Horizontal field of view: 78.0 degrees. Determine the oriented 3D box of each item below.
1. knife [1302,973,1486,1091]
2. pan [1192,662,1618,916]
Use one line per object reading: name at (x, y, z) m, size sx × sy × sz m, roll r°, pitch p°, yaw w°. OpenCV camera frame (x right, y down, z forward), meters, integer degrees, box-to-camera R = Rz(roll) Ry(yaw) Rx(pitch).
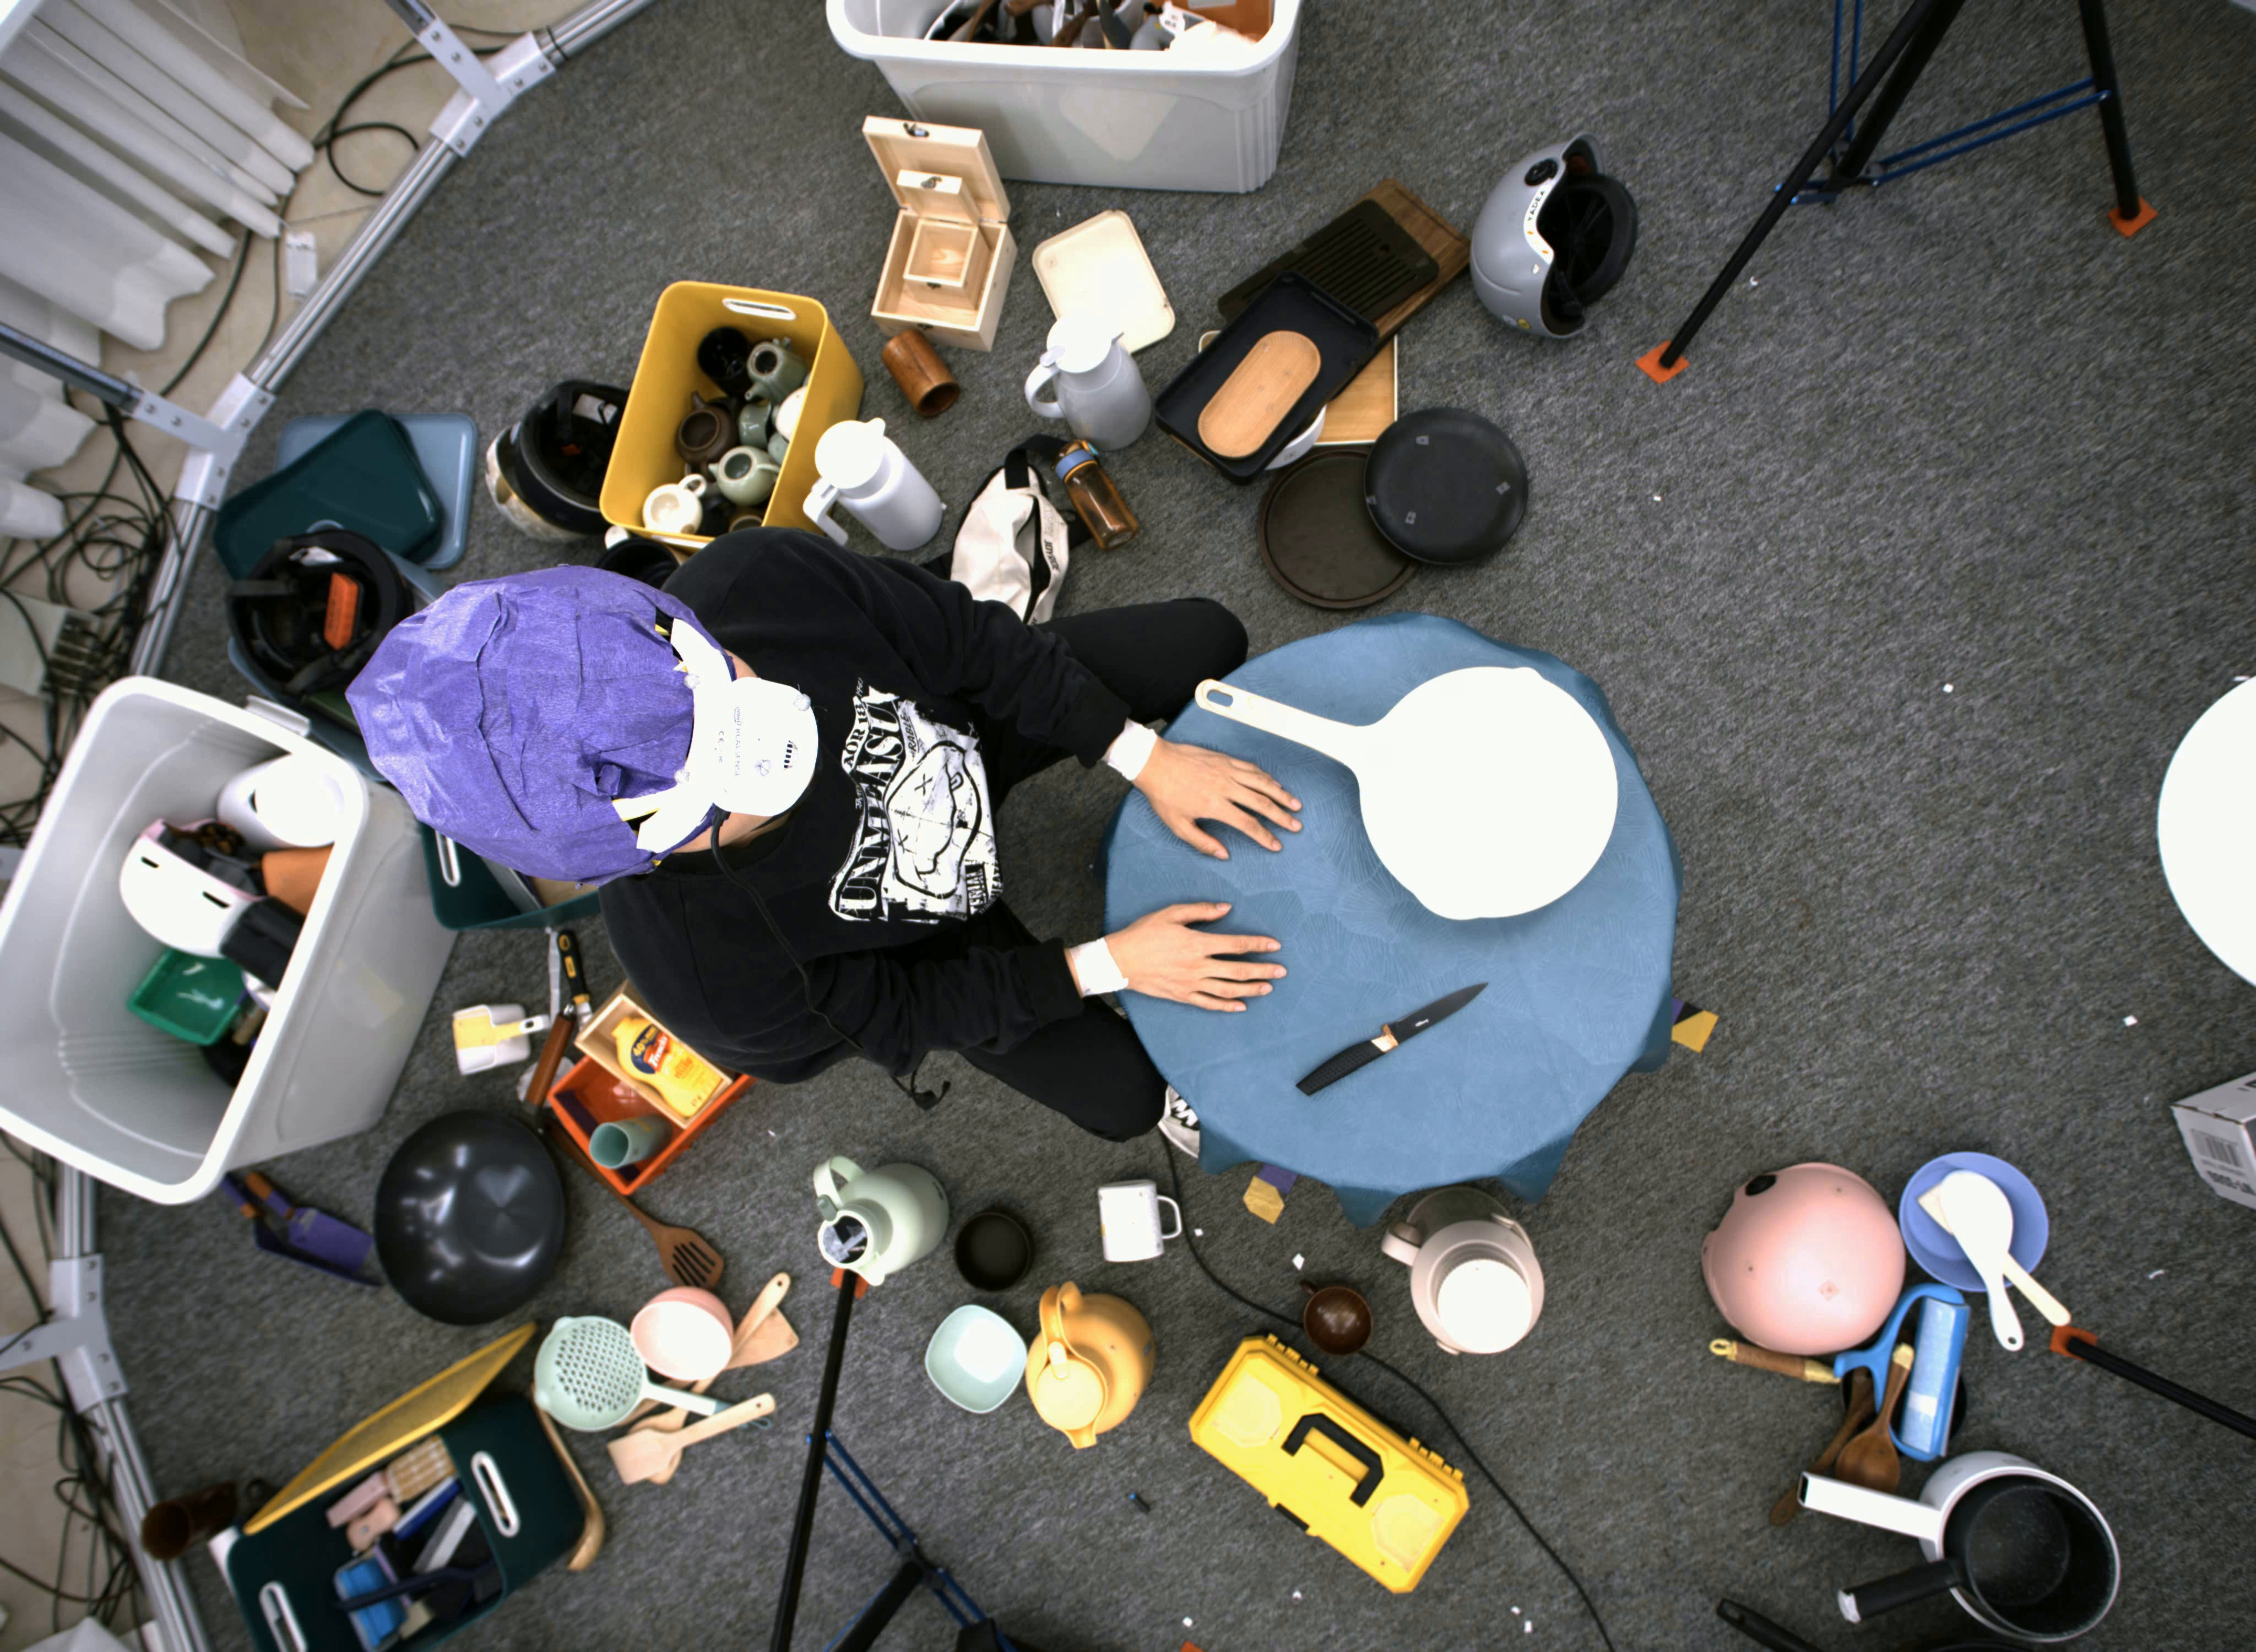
knife at (0.279, 0.215, 1.448) m, size 0.227 × 0.017 × 0.026 m, roll -31°, pitch 66°, yaw 7°
pan at (0.279, -0.067, 1.416) m, size 0.435 × 0.102 × 0.263 m, roll 19°, pitch 92°, yaw 11°
